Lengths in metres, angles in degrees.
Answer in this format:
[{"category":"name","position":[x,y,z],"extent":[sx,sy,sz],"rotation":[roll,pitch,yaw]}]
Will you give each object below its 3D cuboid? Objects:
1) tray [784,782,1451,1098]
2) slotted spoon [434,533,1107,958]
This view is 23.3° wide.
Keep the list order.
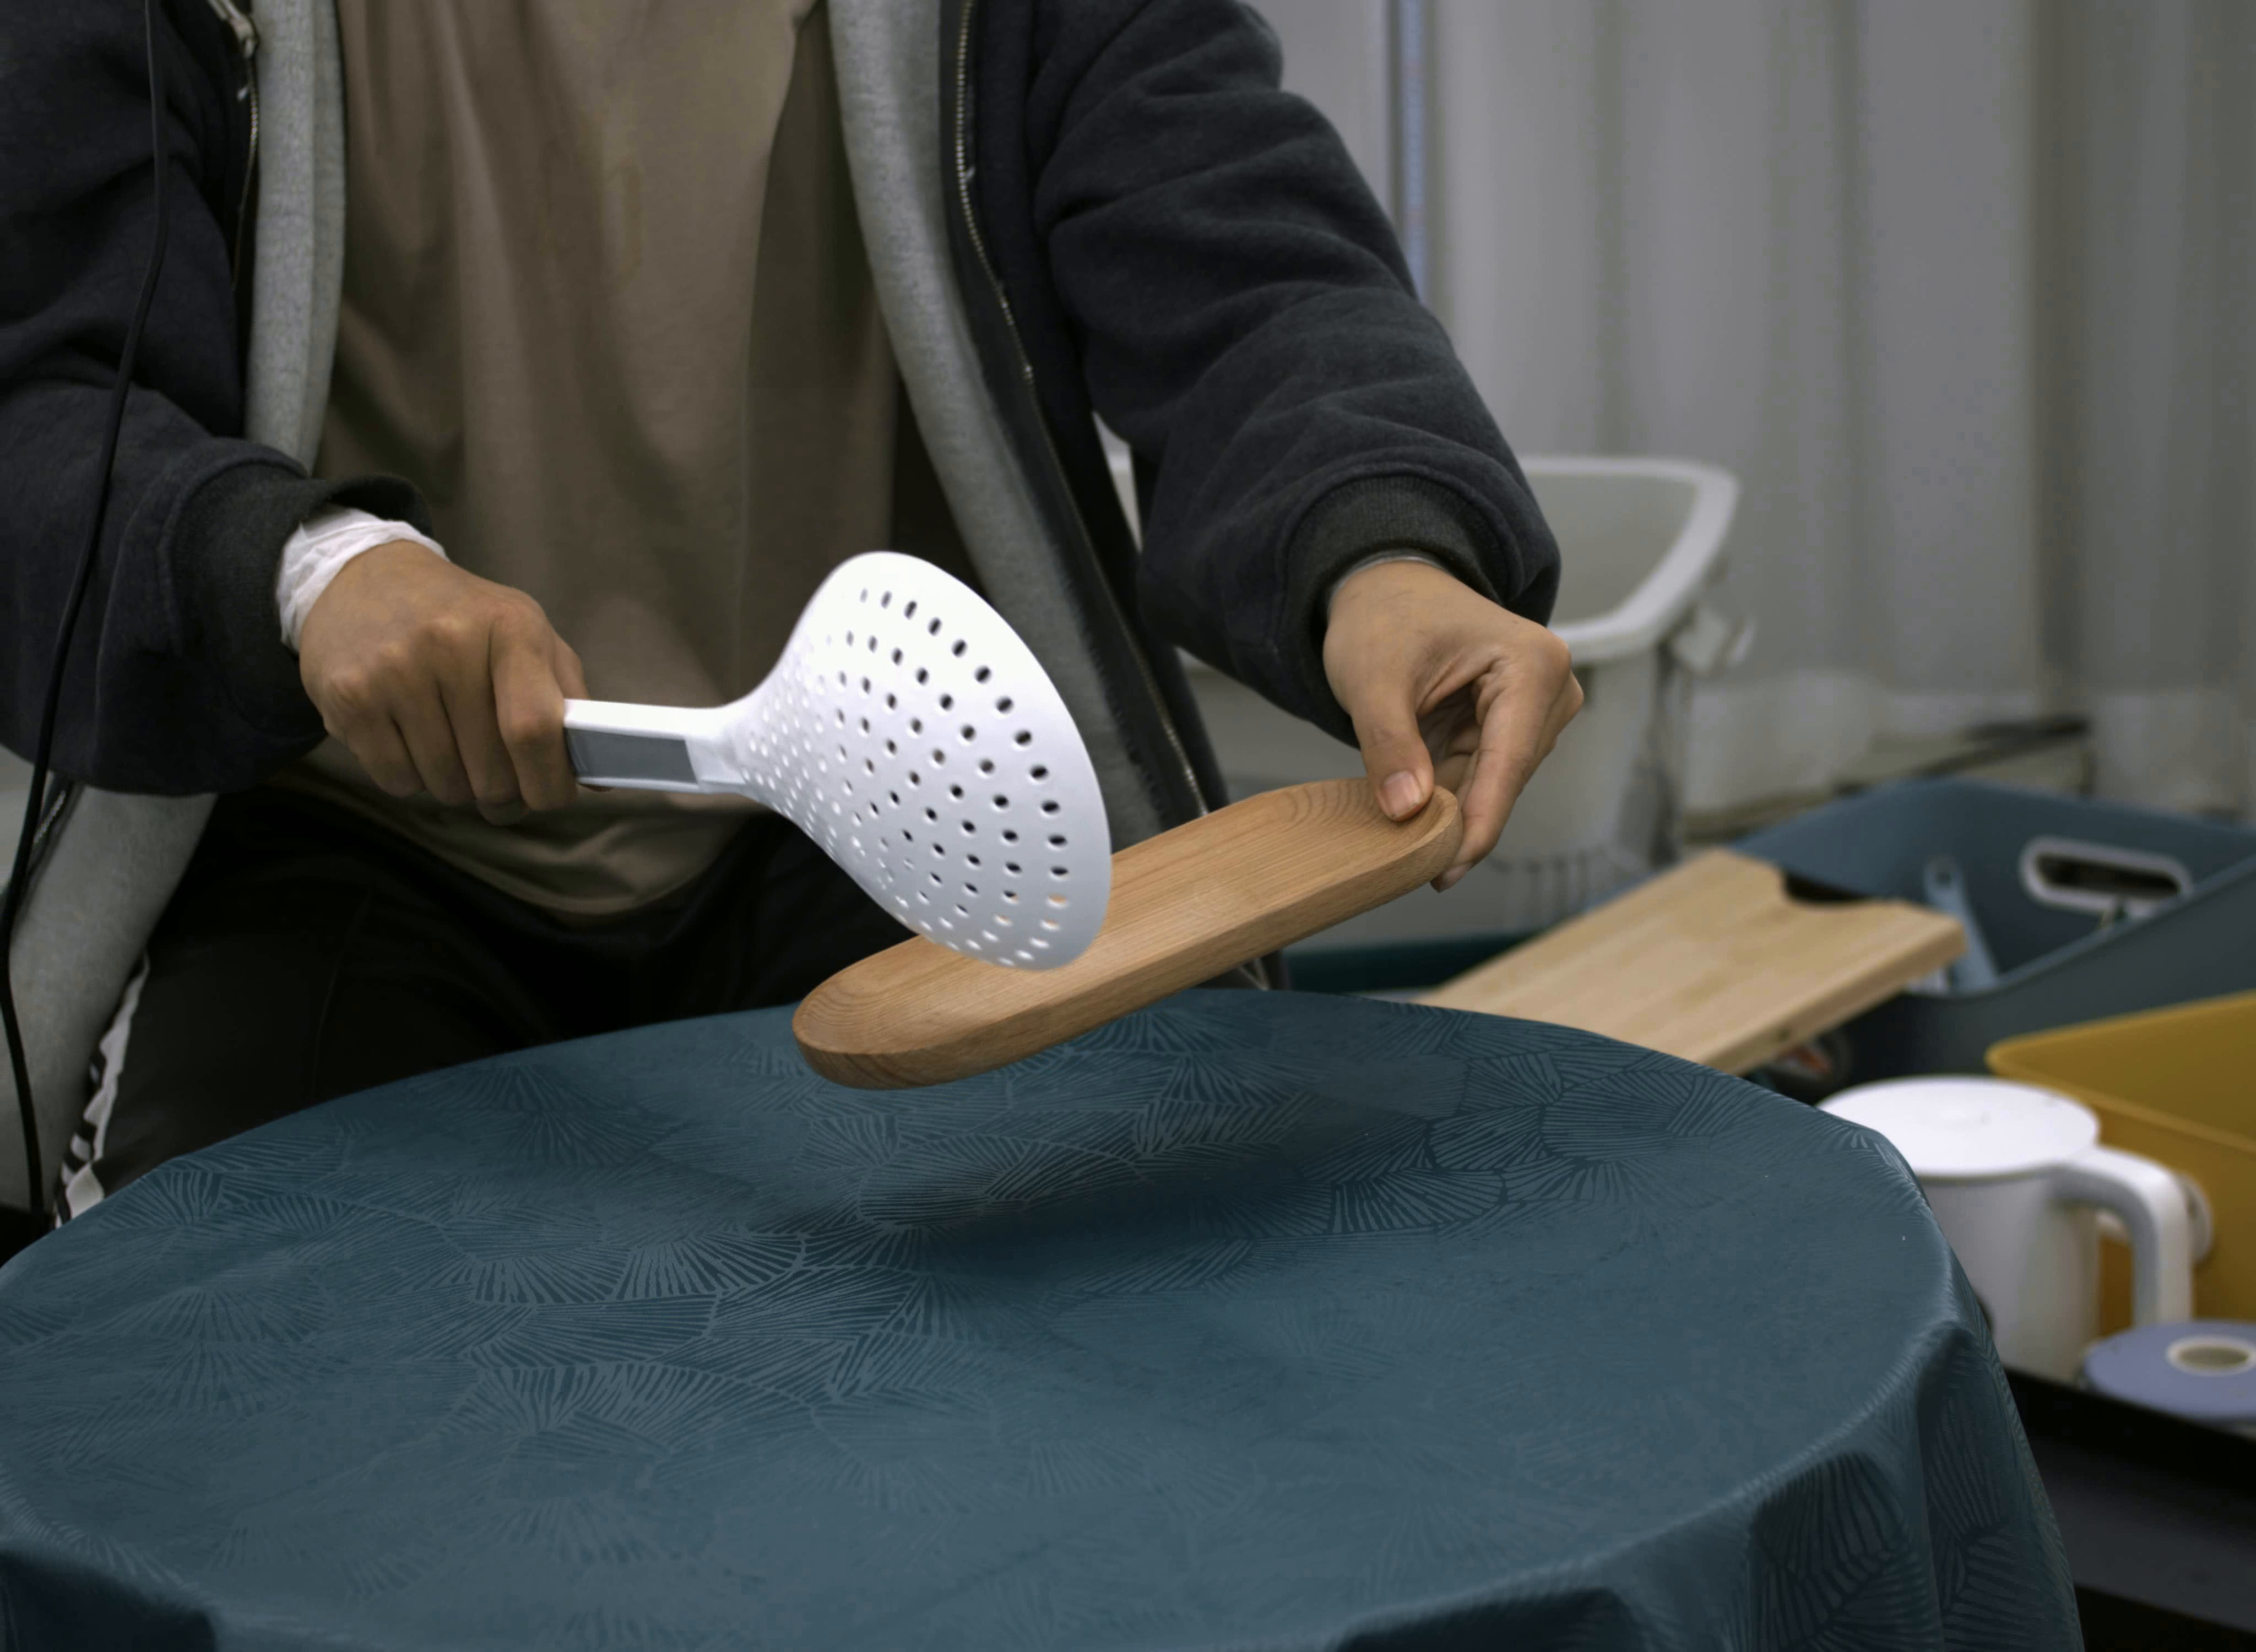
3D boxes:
[{"category":"tray","position":[-0.001,0.035,1.705],"extent":[0.231,0.020,0.102],"rotation":[-24,19,-25]},{"category":"slotted spoon","position":[-0.122,-0.026,1.710],"extent":[0.046,0.135,0.351],"rotation":[-25,17,-29]}]
